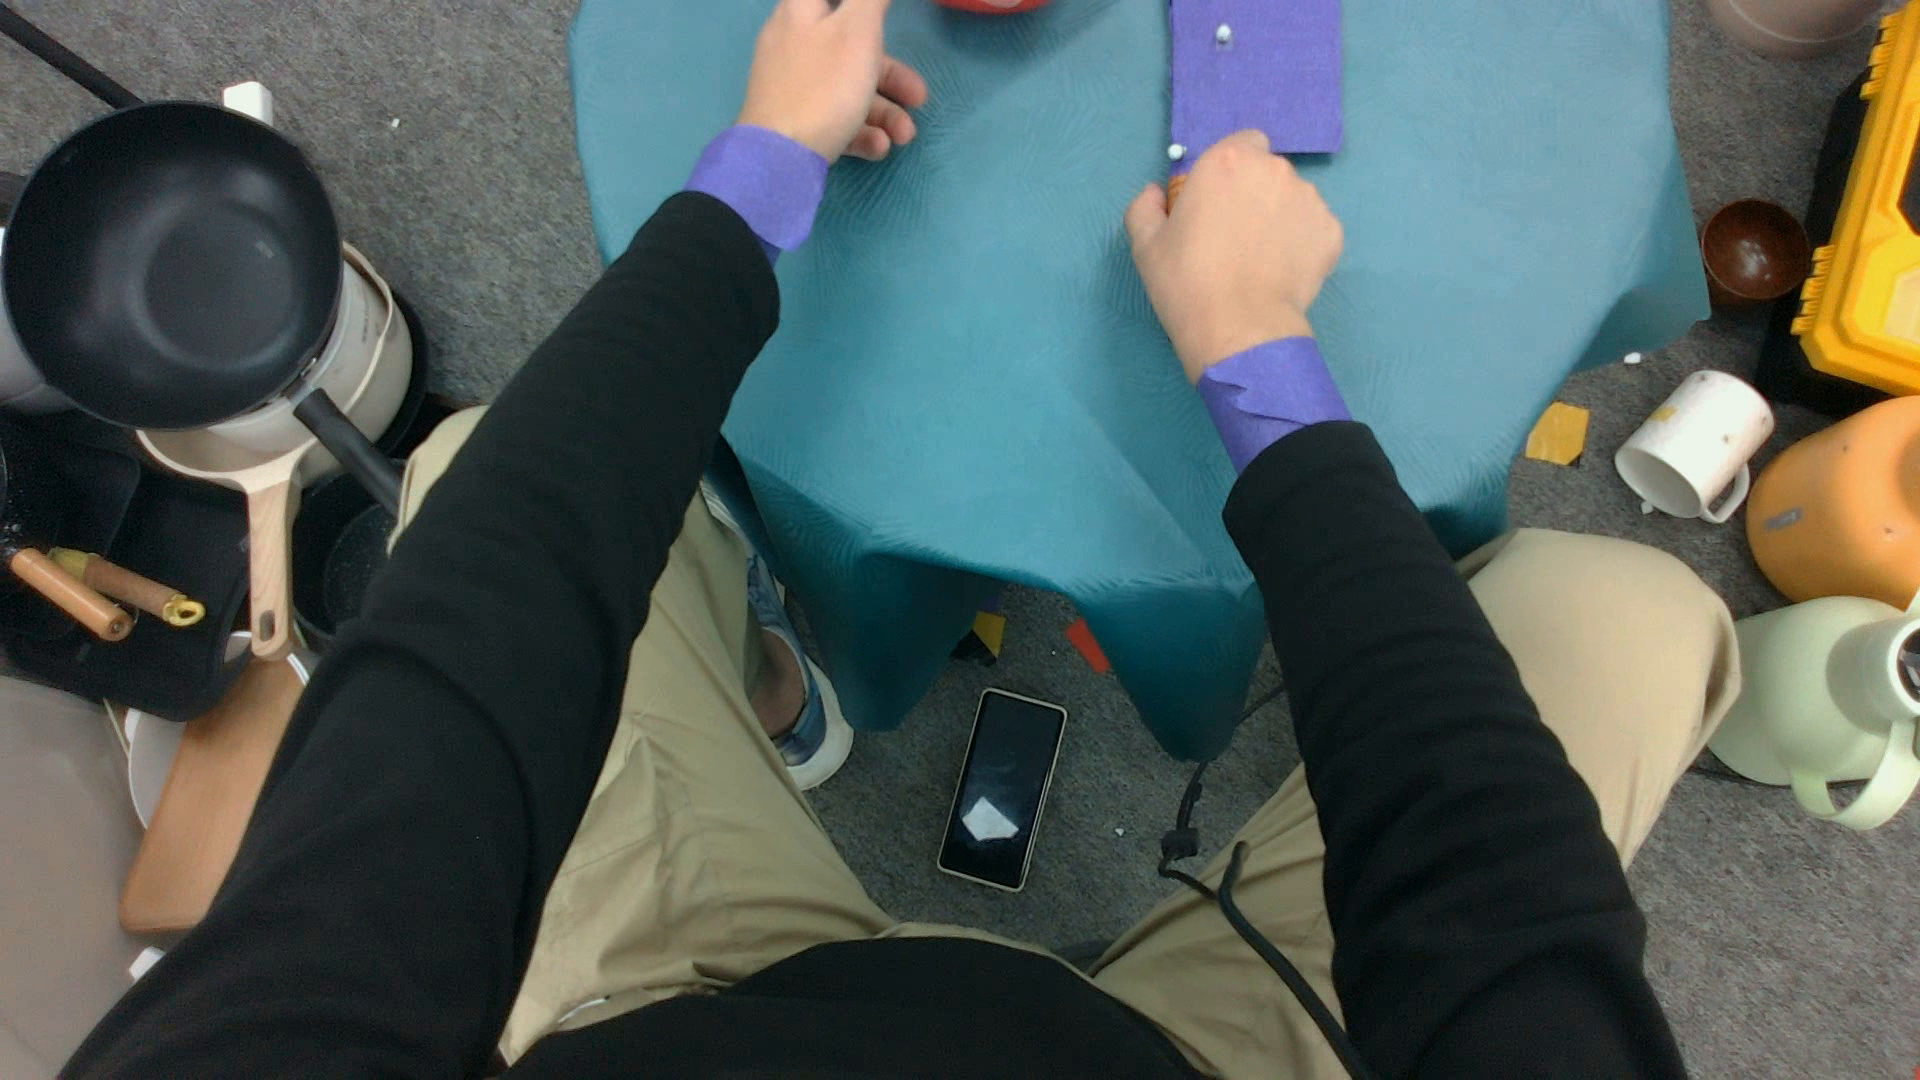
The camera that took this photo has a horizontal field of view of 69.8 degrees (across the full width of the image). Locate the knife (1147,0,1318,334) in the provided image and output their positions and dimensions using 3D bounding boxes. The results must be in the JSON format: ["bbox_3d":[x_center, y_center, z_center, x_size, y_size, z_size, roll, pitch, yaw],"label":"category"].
[{"bbox_3d":[0.144,-0.264,0.741,0.104,0.032,0.316,-1,78,3],"label":"knife"}]
